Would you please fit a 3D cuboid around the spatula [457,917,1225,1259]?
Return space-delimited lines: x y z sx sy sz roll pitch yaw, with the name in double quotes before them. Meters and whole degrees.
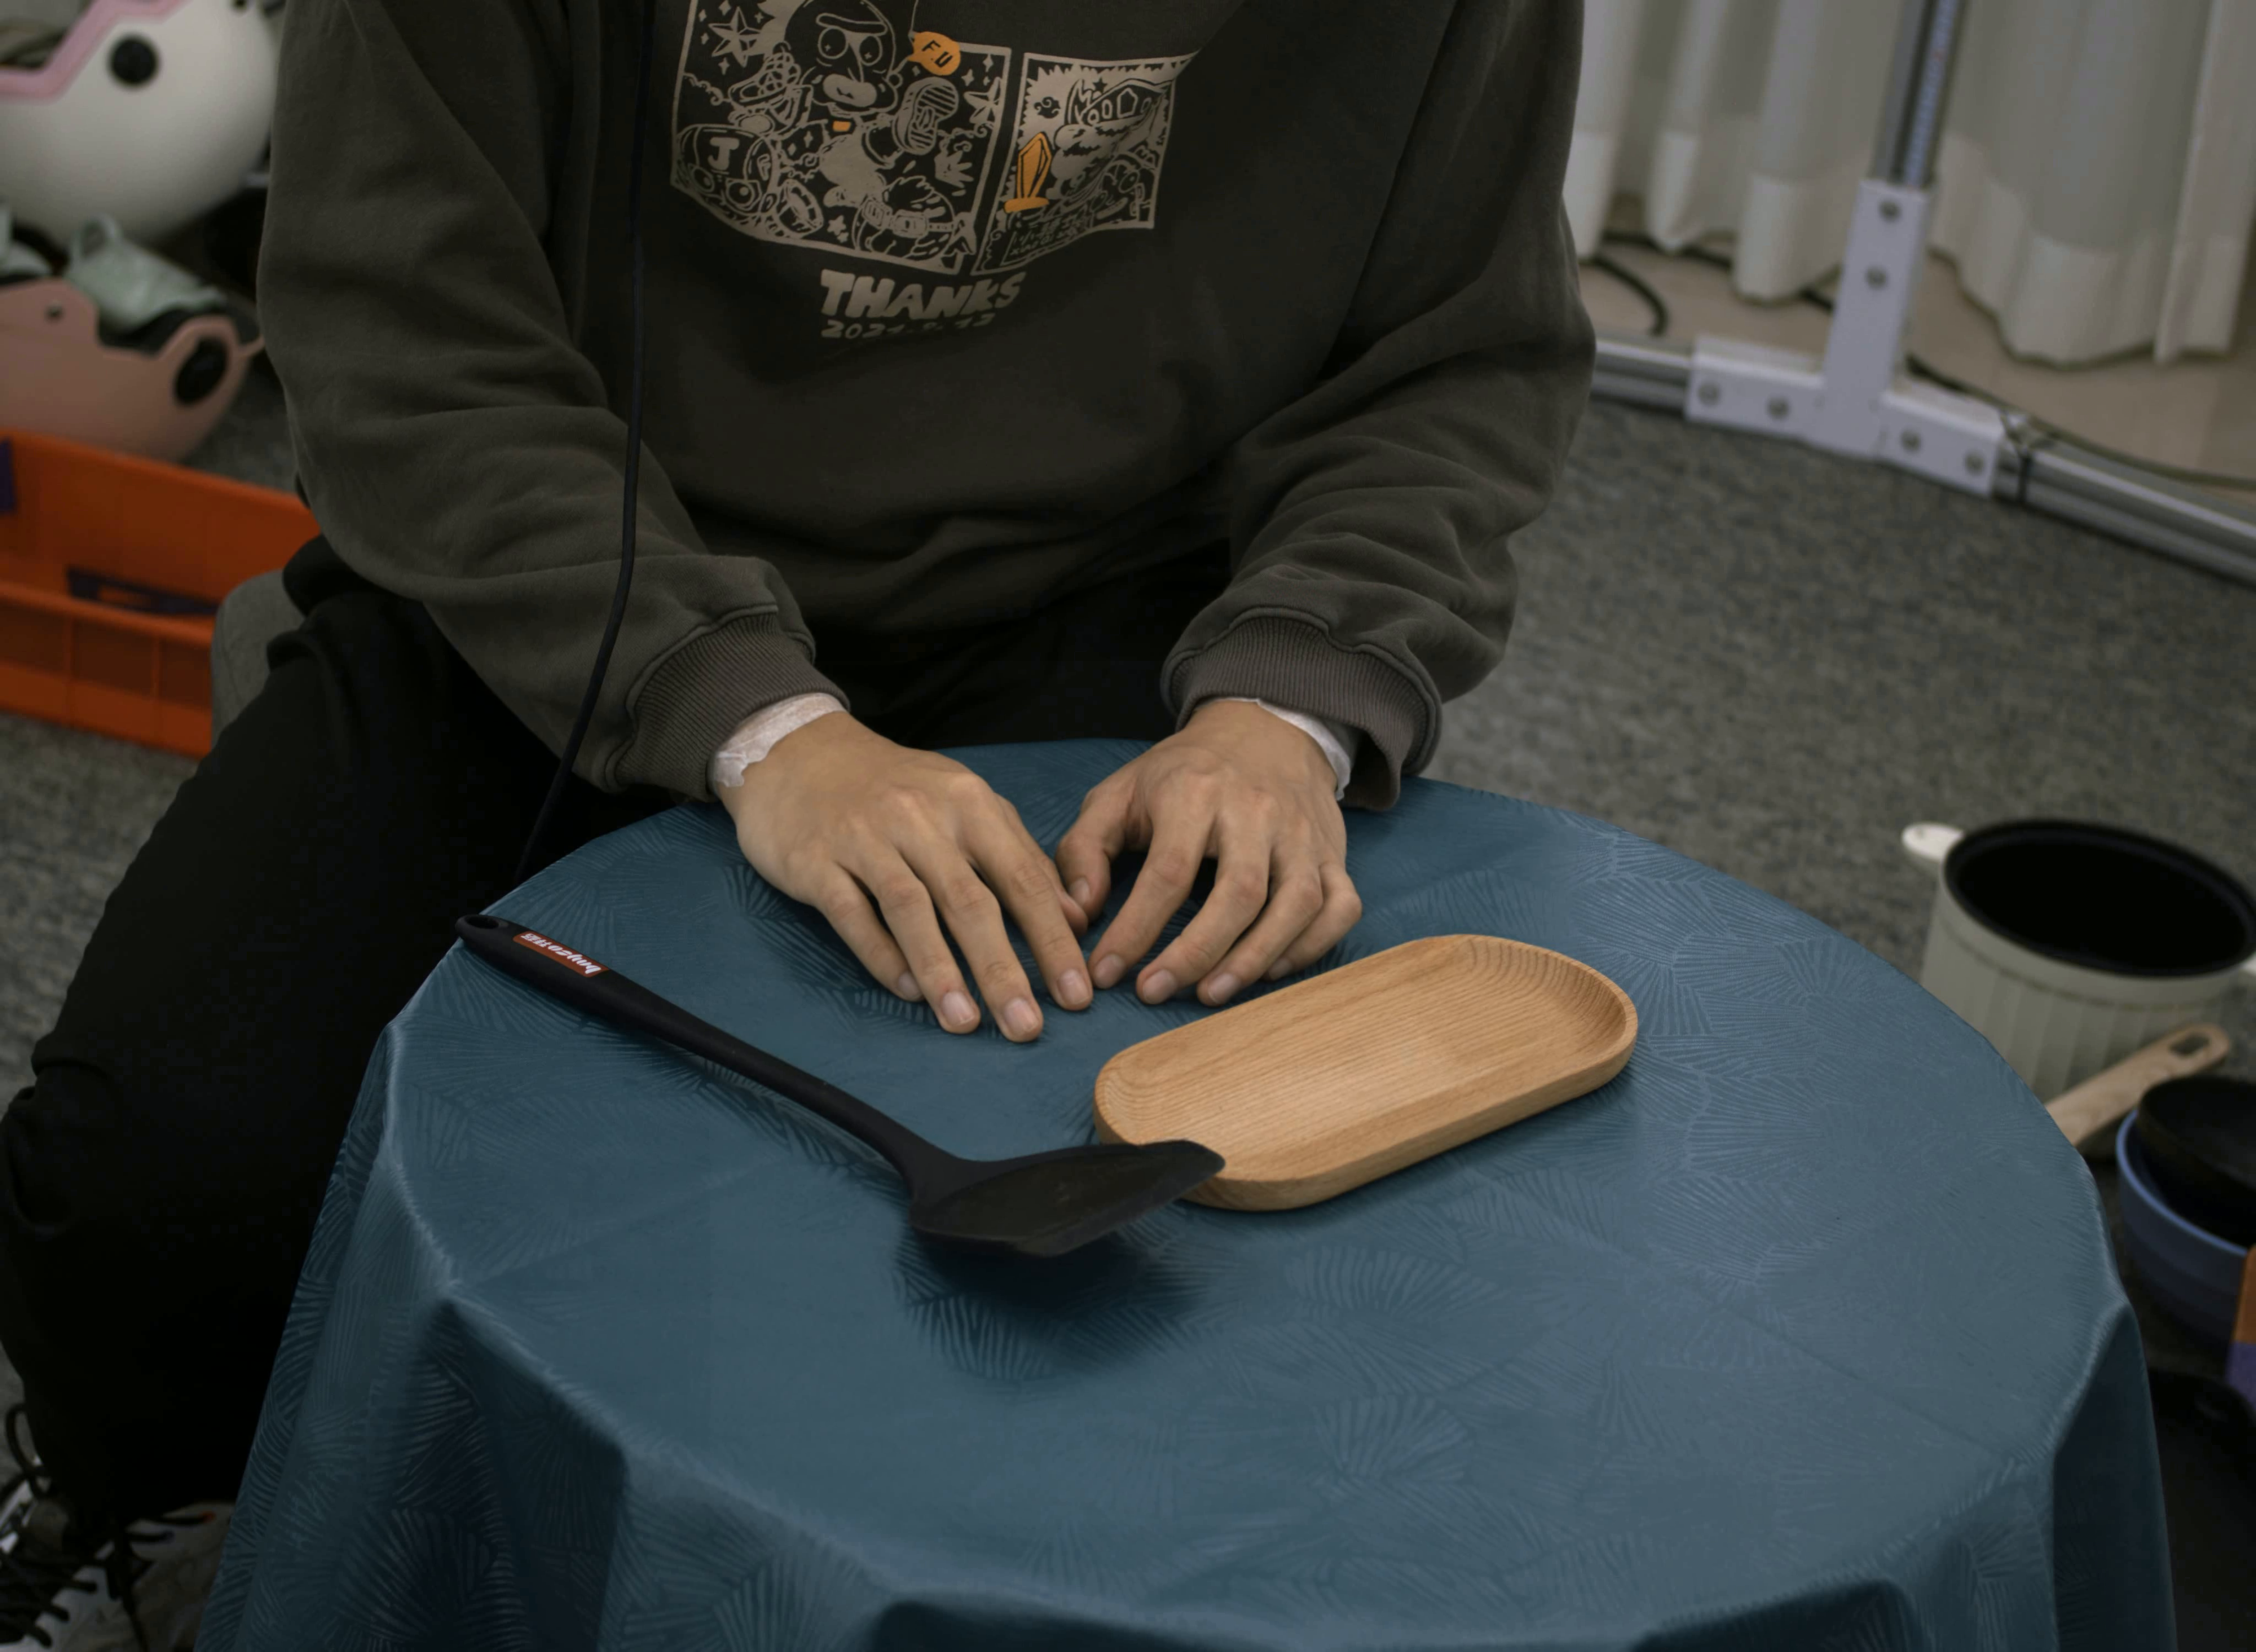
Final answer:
"spatula" -0.116 0.082 1.820 0.328 0.040 0.099 26 31 34

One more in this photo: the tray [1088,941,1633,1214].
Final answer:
"tray" 0.084 0.088 1.876 0.230 0.020 0.102 -19 36 -39
